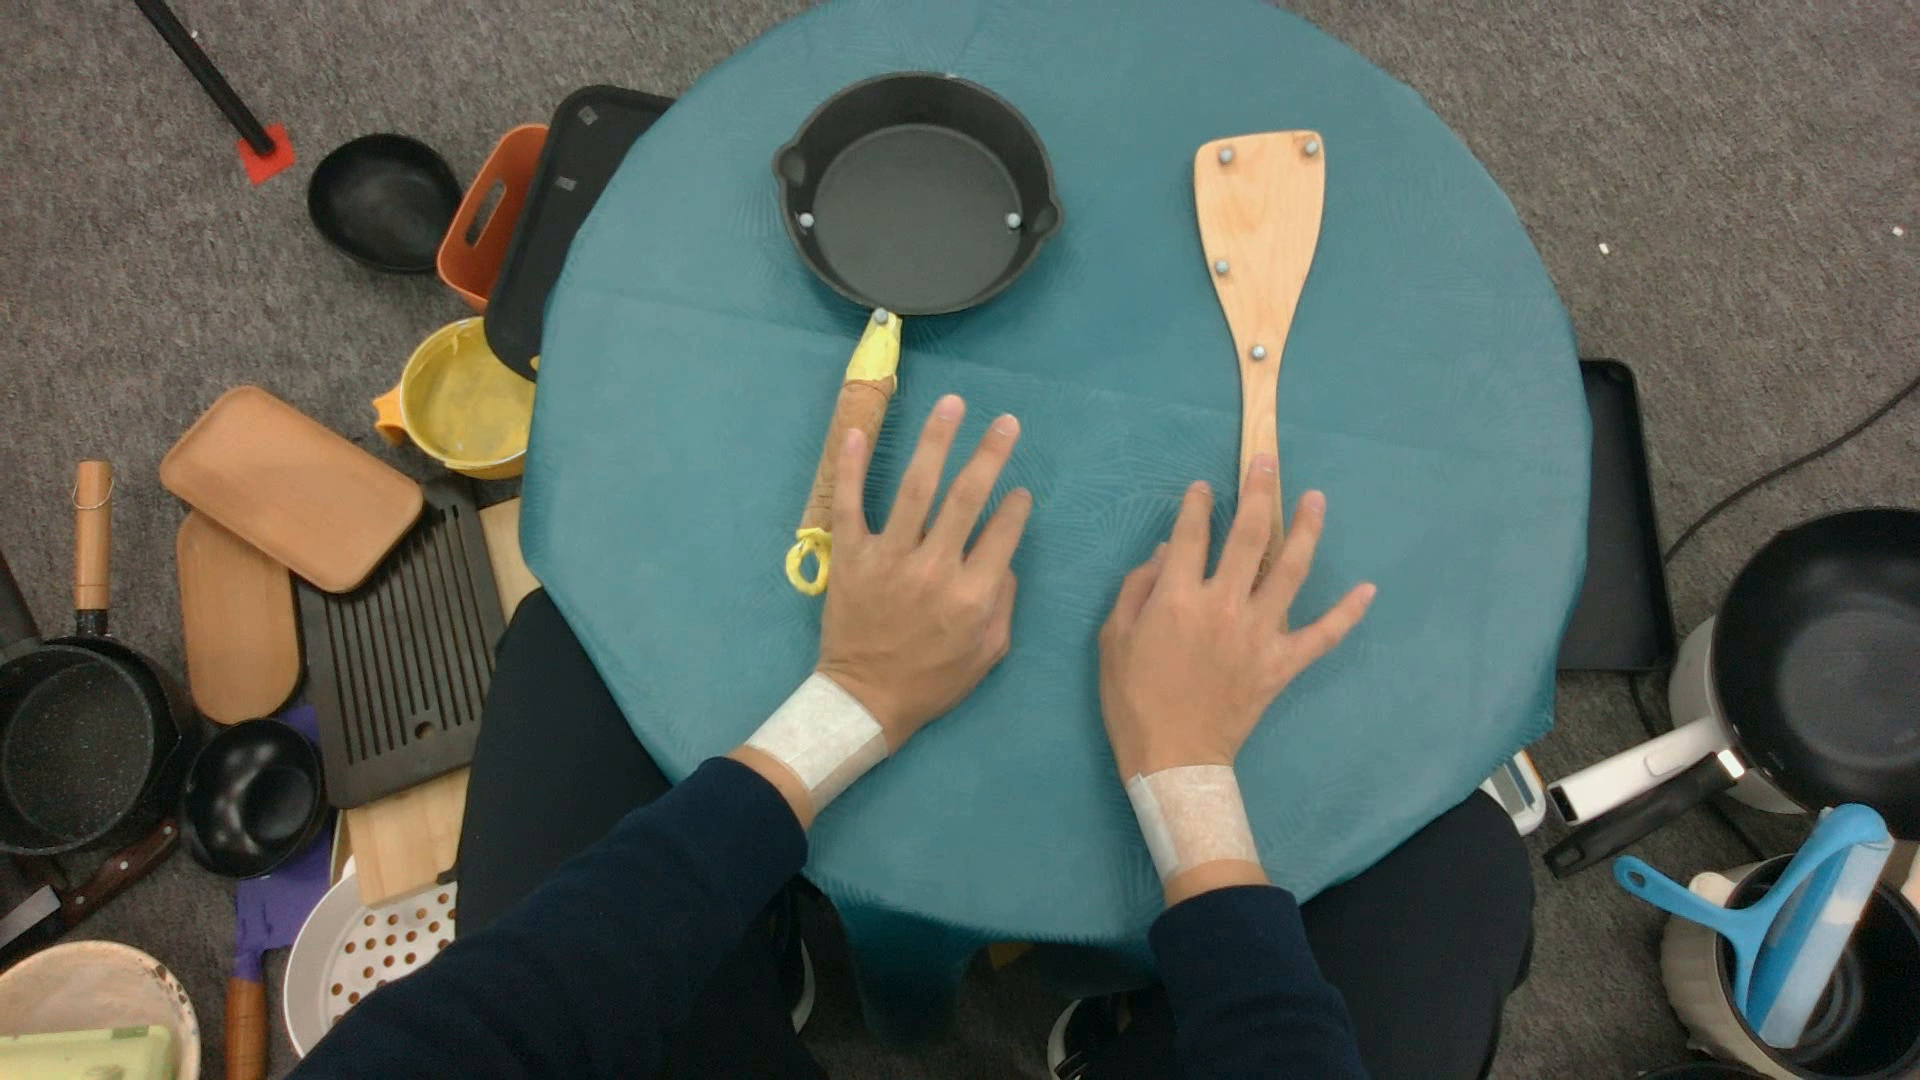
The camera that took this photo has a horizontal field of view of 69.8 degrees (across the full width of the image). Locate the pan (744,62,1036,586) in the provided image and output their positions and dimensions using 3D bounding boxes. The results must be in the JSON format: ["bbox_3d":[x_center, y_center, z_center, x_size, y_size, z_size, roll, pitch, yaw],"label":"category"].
[{"bbox_3d":[-0.058,-0.125,0.763,0.169,0.049,0.325,13,71,2],"label":"pan"}]

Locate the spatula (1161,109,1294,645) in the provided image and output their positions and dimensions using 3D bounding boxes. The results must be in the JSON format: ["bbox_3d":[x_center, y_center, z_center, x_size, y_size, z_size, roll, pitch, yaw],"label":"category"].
[{"bbox_3d":[0.157,-0.101,0.783,0.080,0.016,0.328,2,72,-1],"label":"spatula"}]
